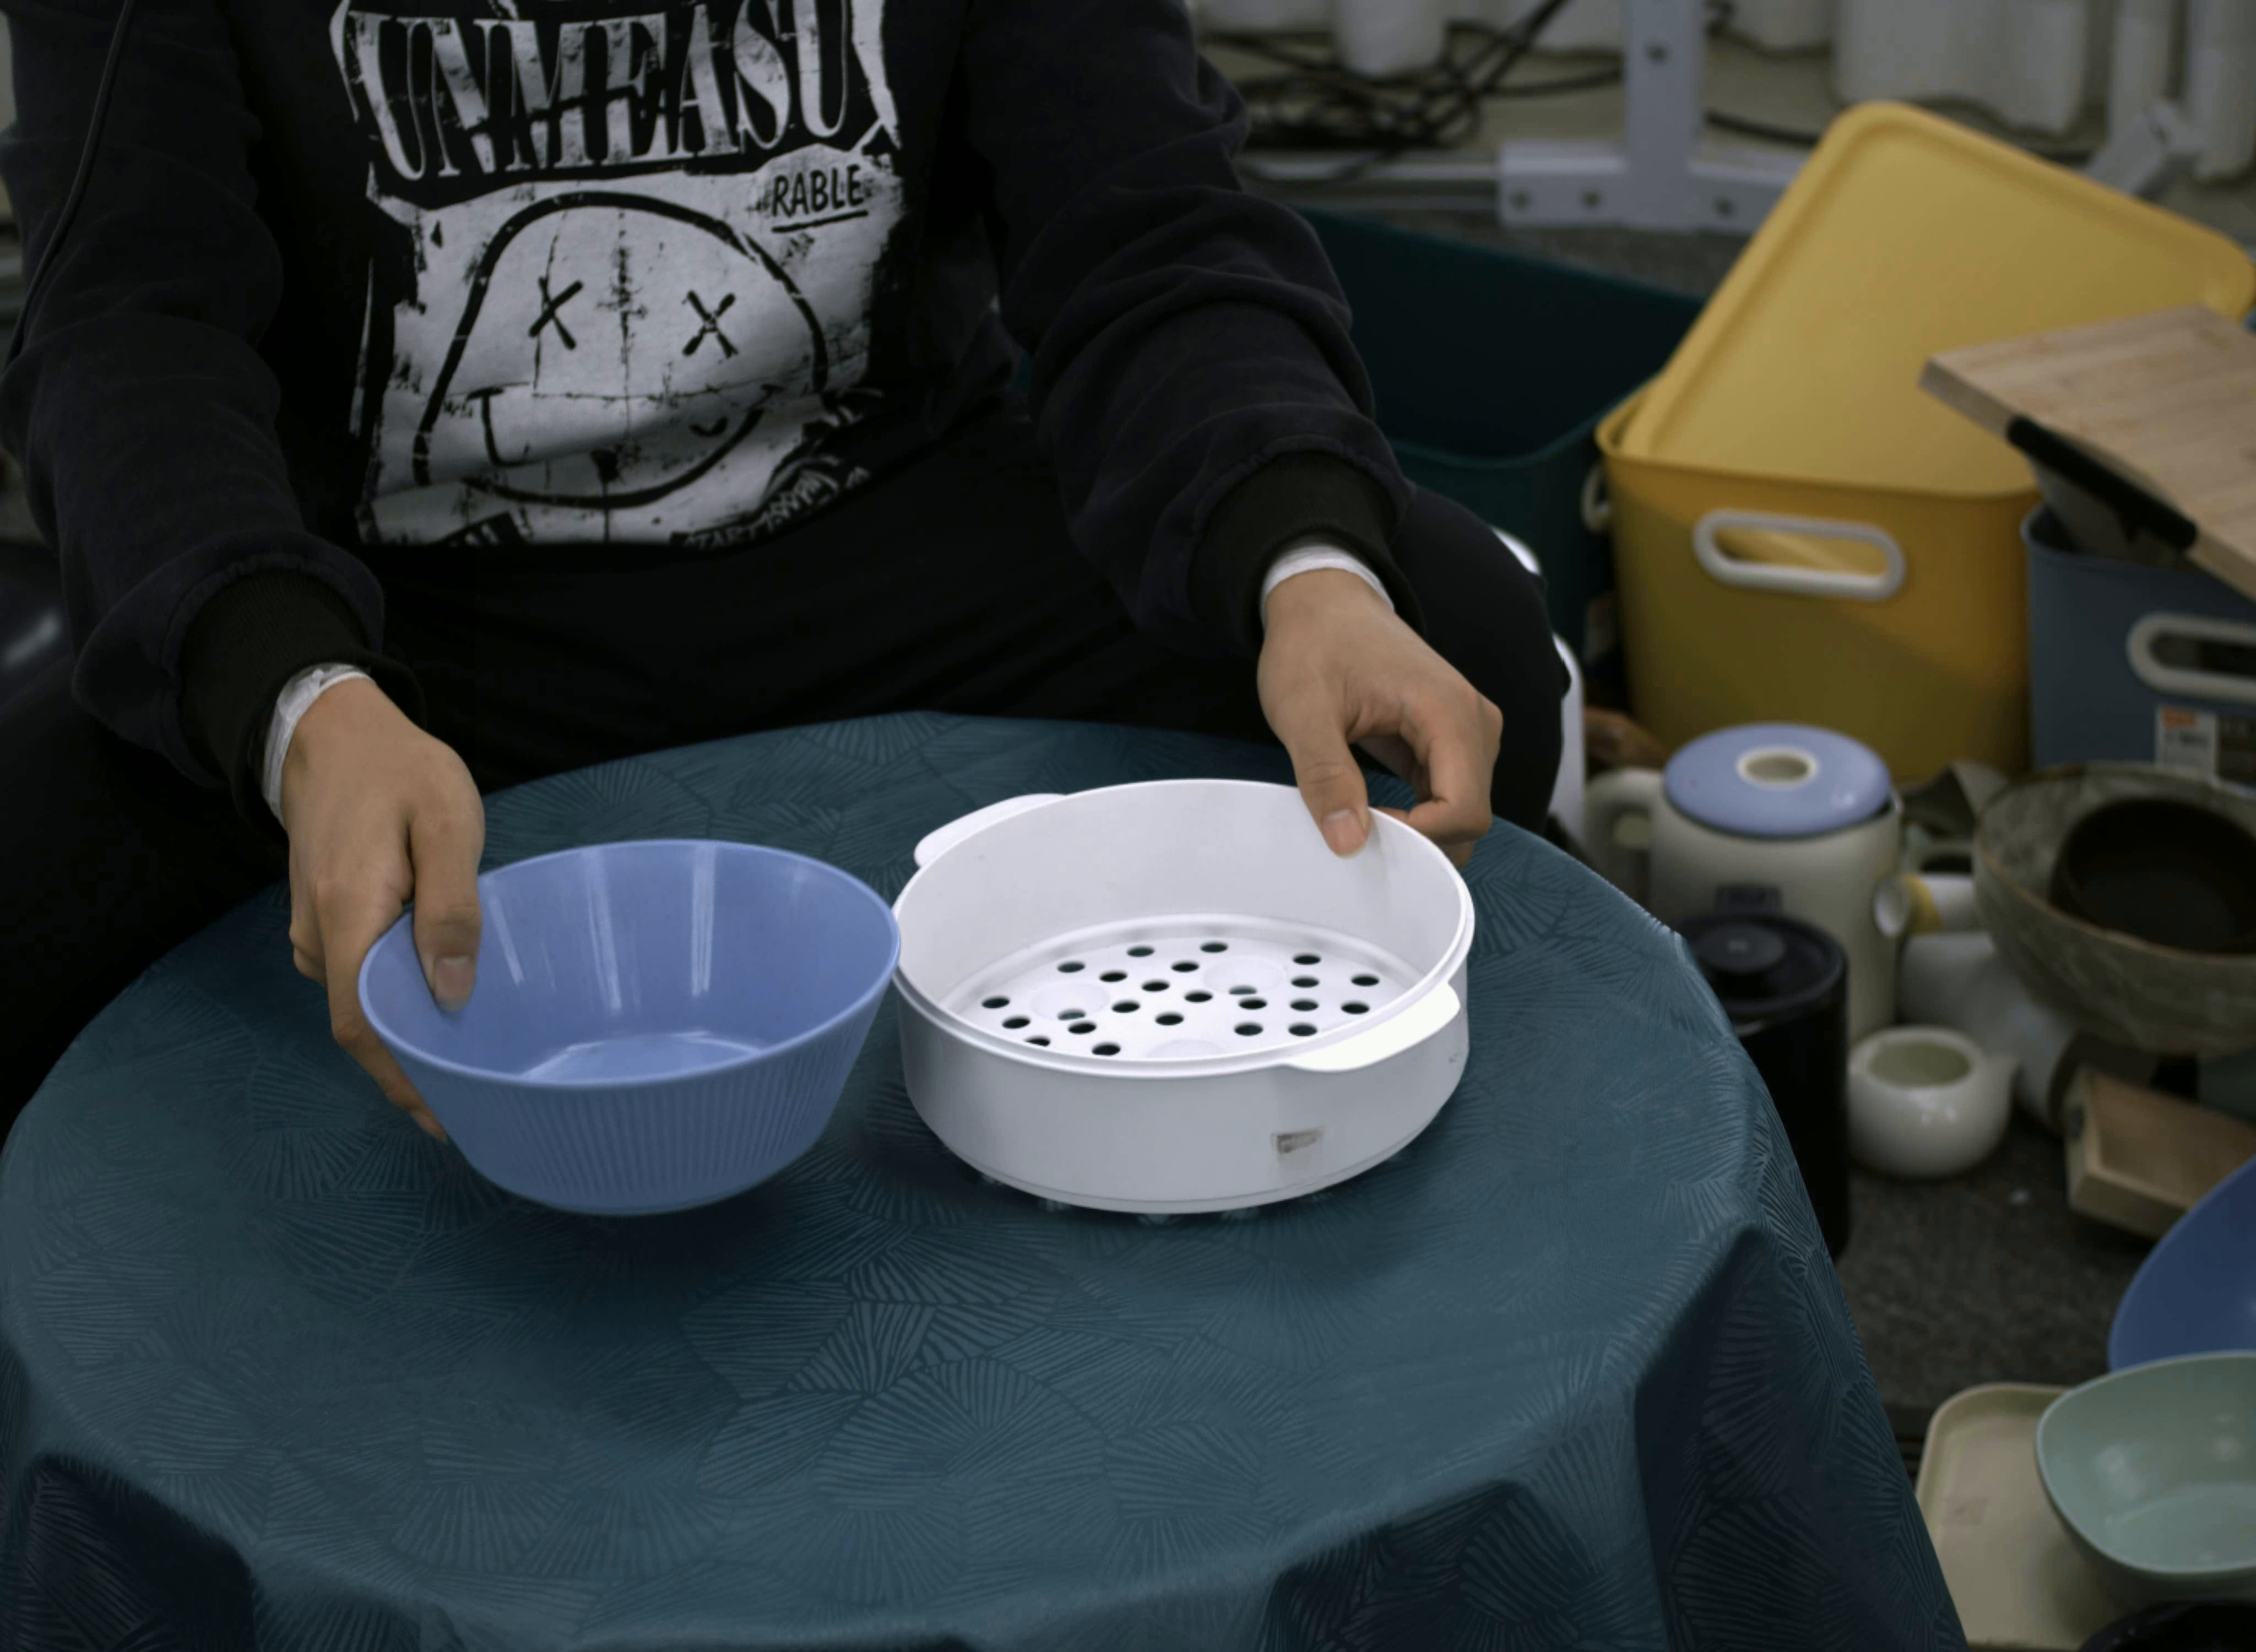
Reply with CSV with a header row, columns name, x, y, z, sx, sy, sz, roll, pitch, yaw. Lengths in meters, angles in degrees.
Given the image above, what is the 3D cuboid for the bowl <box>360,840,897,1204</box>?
name,x,y,z,sx,sy,sz,roll,pitch,yaw
bowl,-0.160,0.069,1.834,0.175,0.069,0.178,-2,23,1

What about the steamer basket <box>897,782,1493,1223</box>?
name,x,y,z,sx,sy,sz,roll,pitch,yaw
steamer basket,0.023,0.060,1.904,0.204,0.068,0.230,-24,36,-35
